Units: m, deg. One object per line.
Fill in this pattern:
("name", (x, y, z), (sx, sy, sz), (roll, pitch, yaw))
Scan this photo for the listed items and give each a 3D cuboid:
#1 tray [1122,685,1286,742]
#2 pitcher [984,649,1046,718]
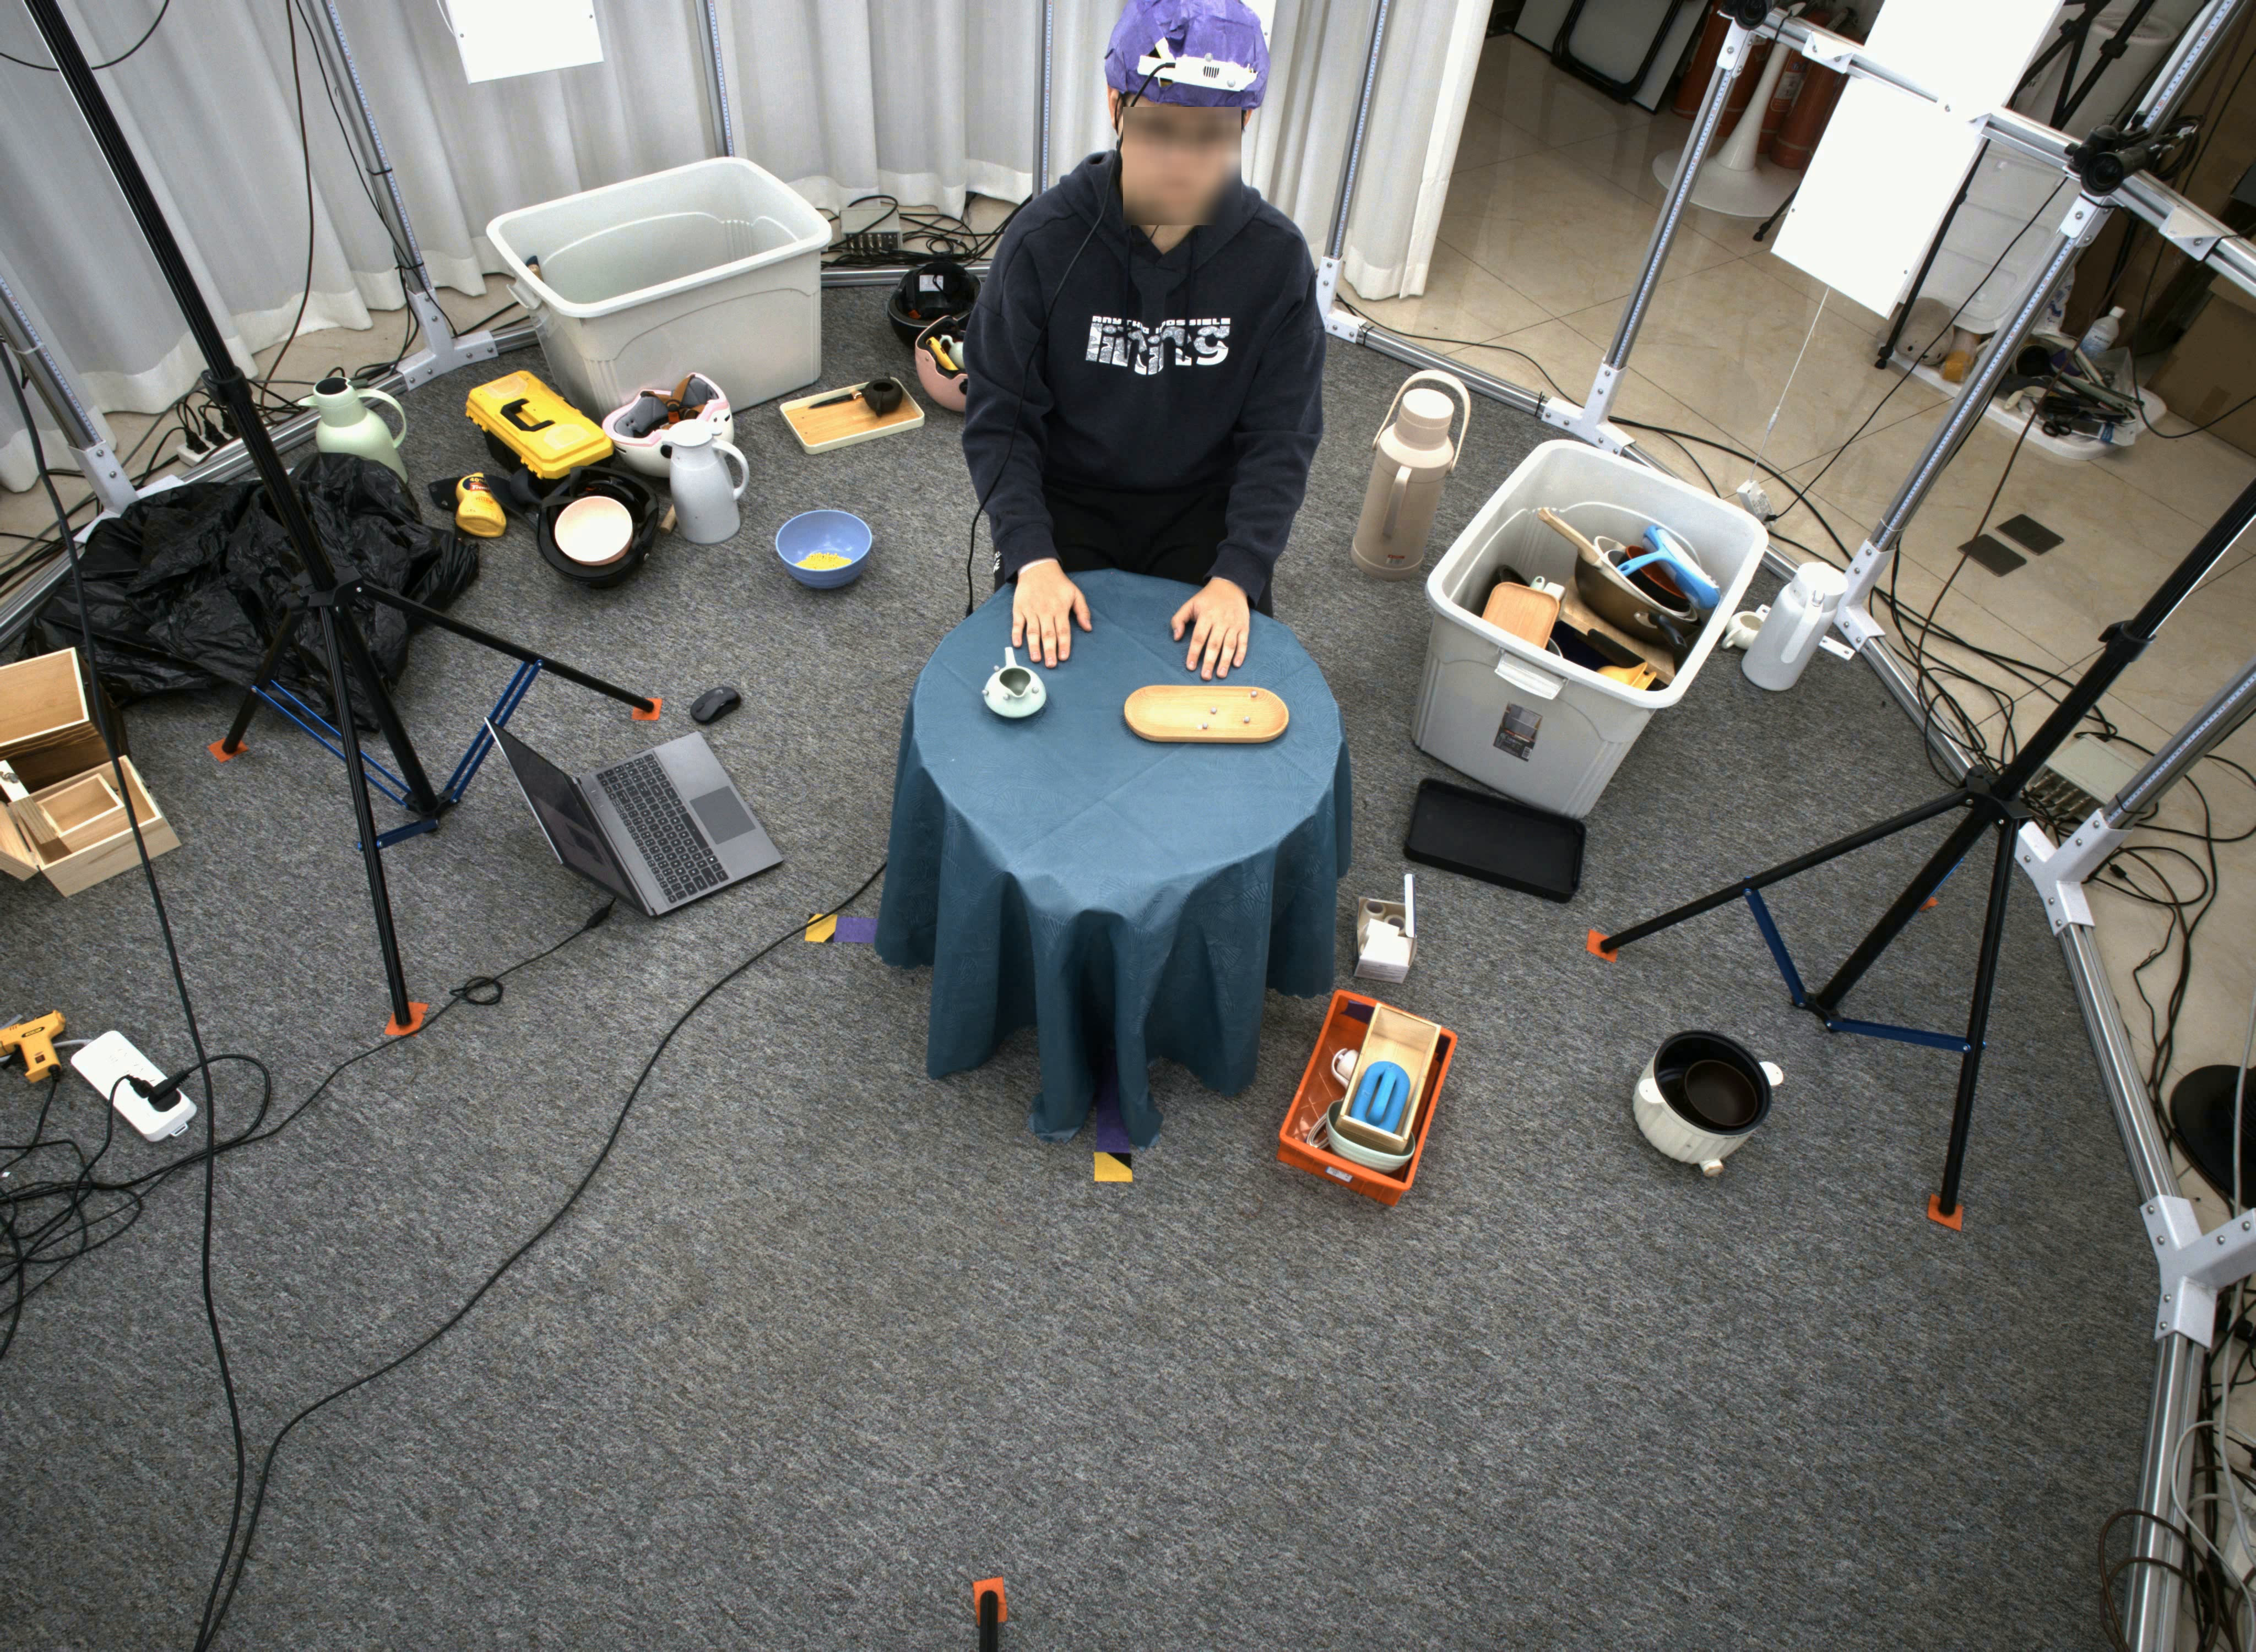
("tray", (0.107, -0.157, 1.800), (0.231, 0.020, 0.104), (-1, 48, -3))
("pitcher", (-0.159, -0.197, 1.788), (0.086, 0.059, 0.111), (-7, 48, -12))
